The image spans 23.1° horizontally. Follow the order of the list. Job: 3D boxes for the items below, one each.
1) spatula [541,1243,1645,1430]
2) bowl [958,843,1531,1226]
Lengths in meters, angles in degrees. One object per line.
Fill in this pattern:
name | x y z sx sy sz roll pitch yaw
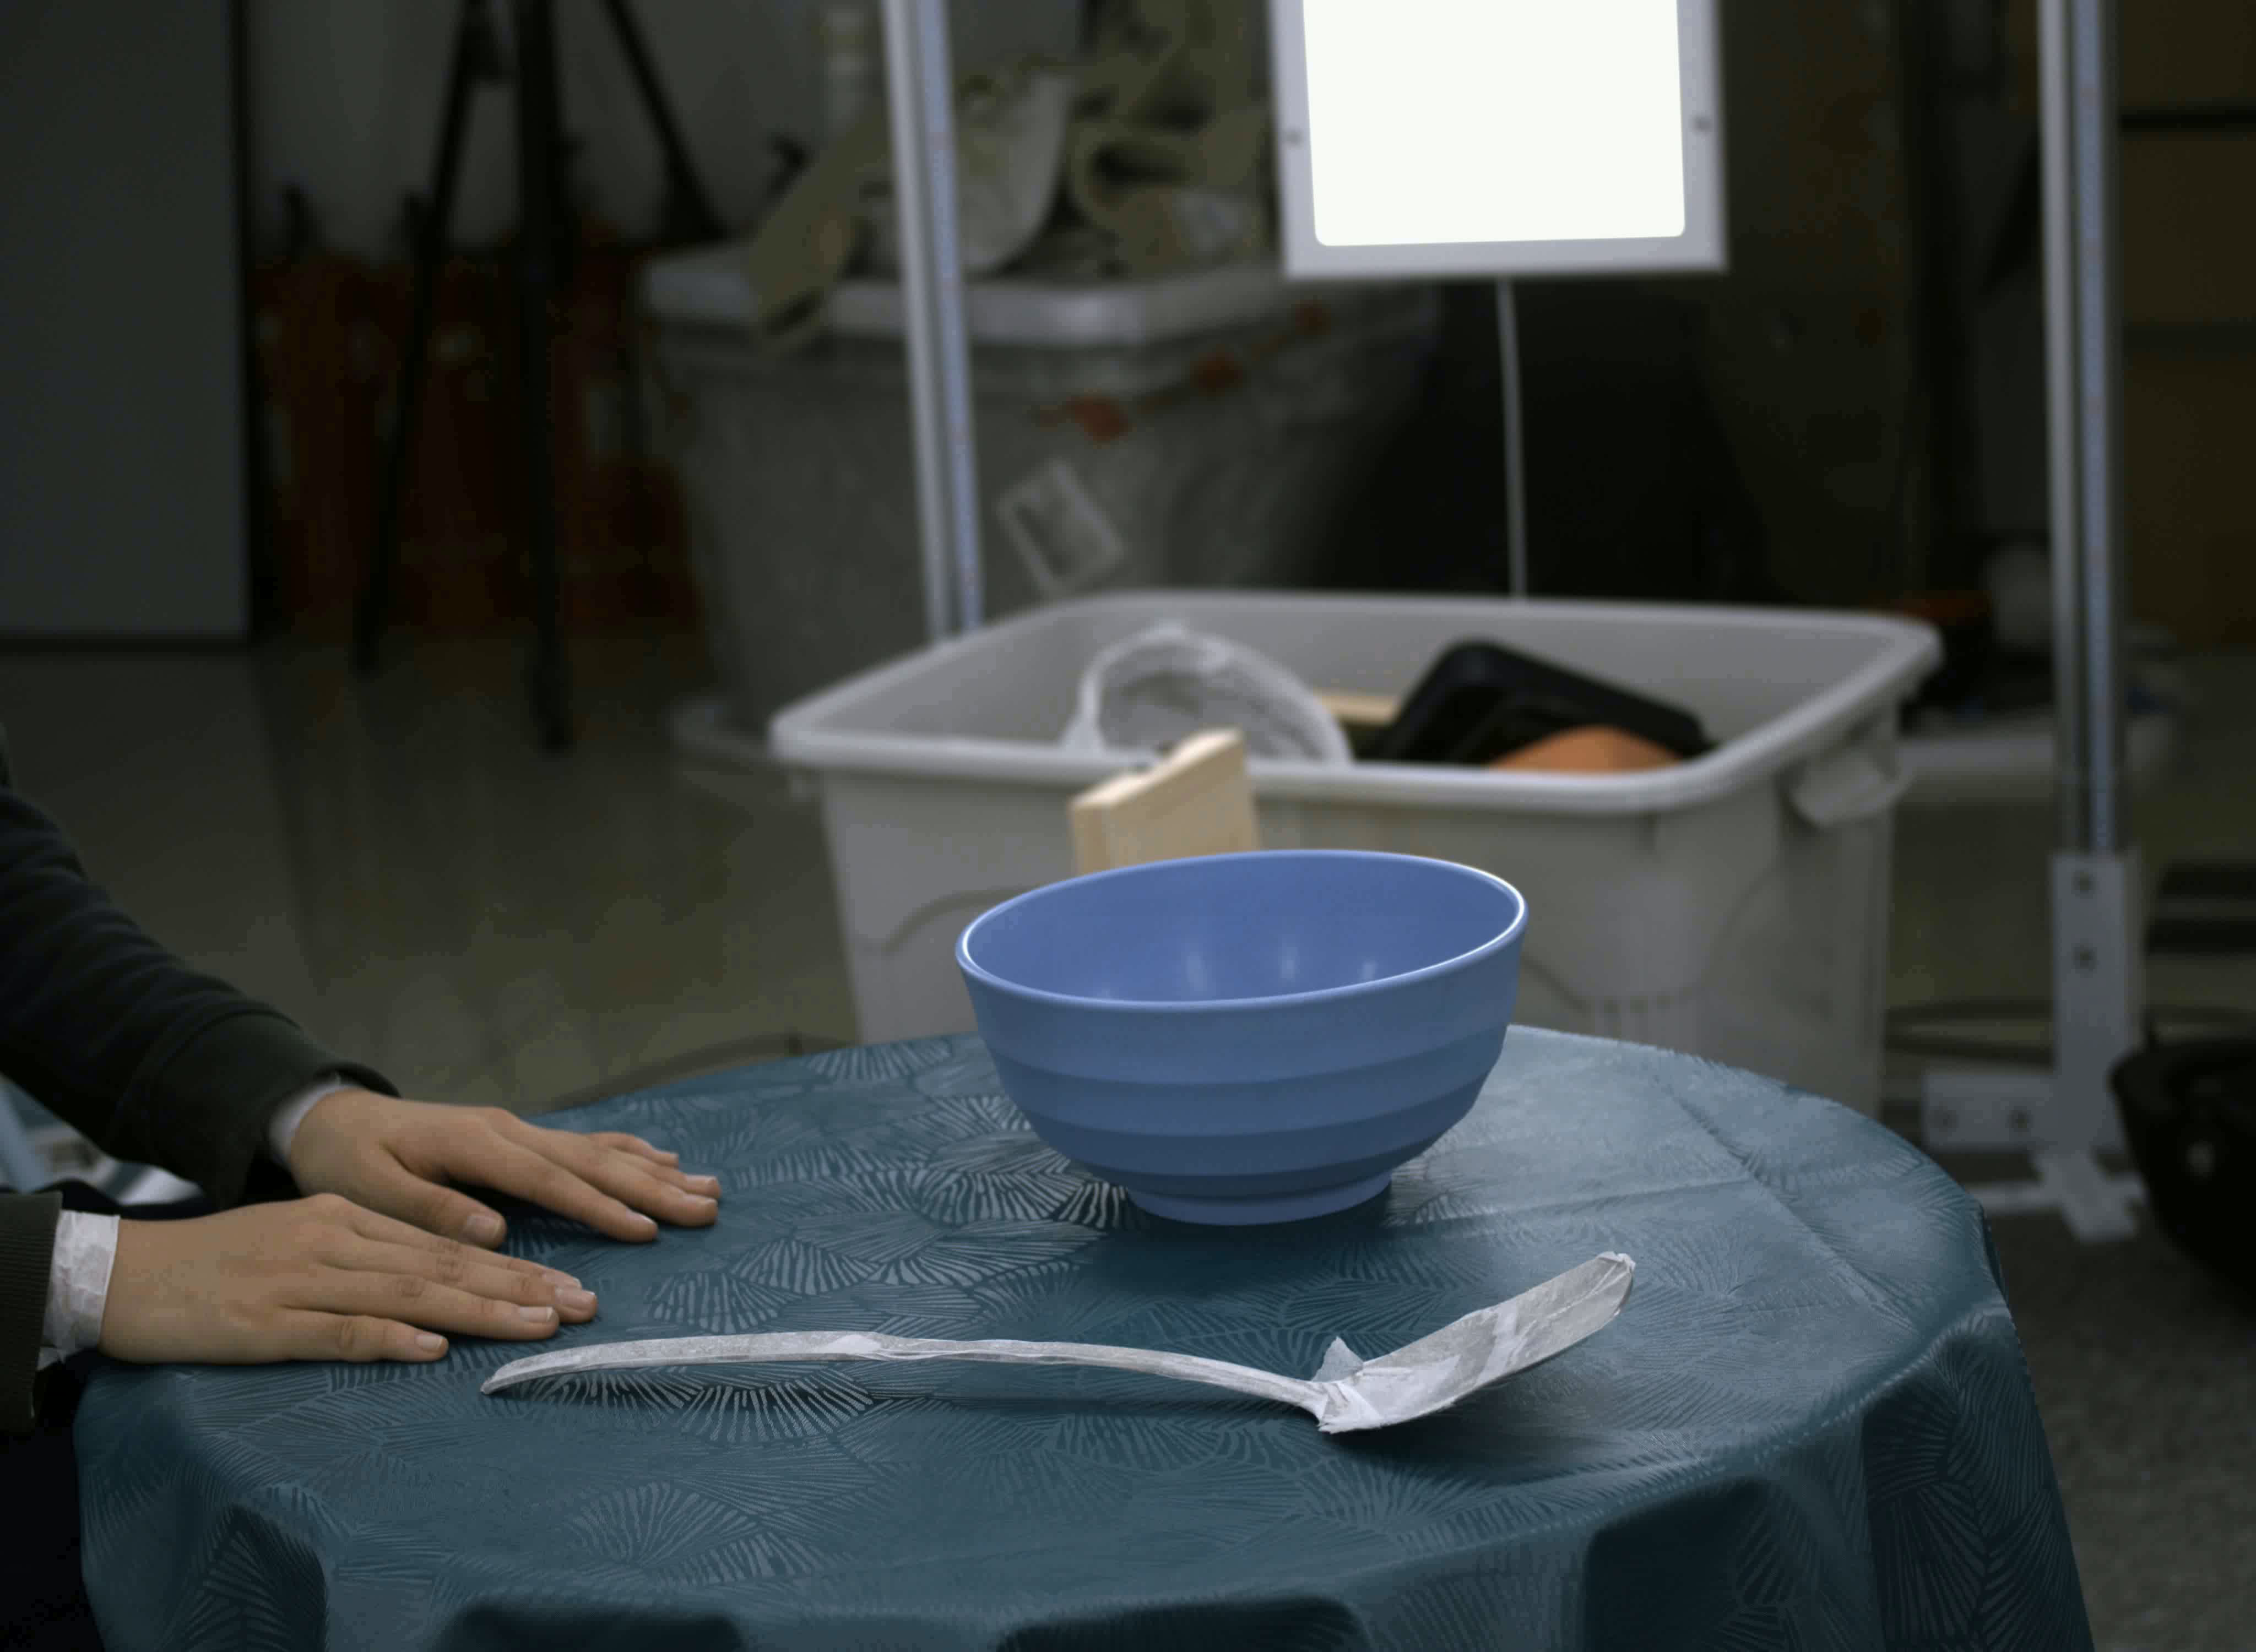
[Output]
spatula | -0.020 0.157 1.697 0.369 0.045 0.097 0 16 20
bowl | 0.042 0.077 1.882 0.196 0.096 0.196 -5 15 0
